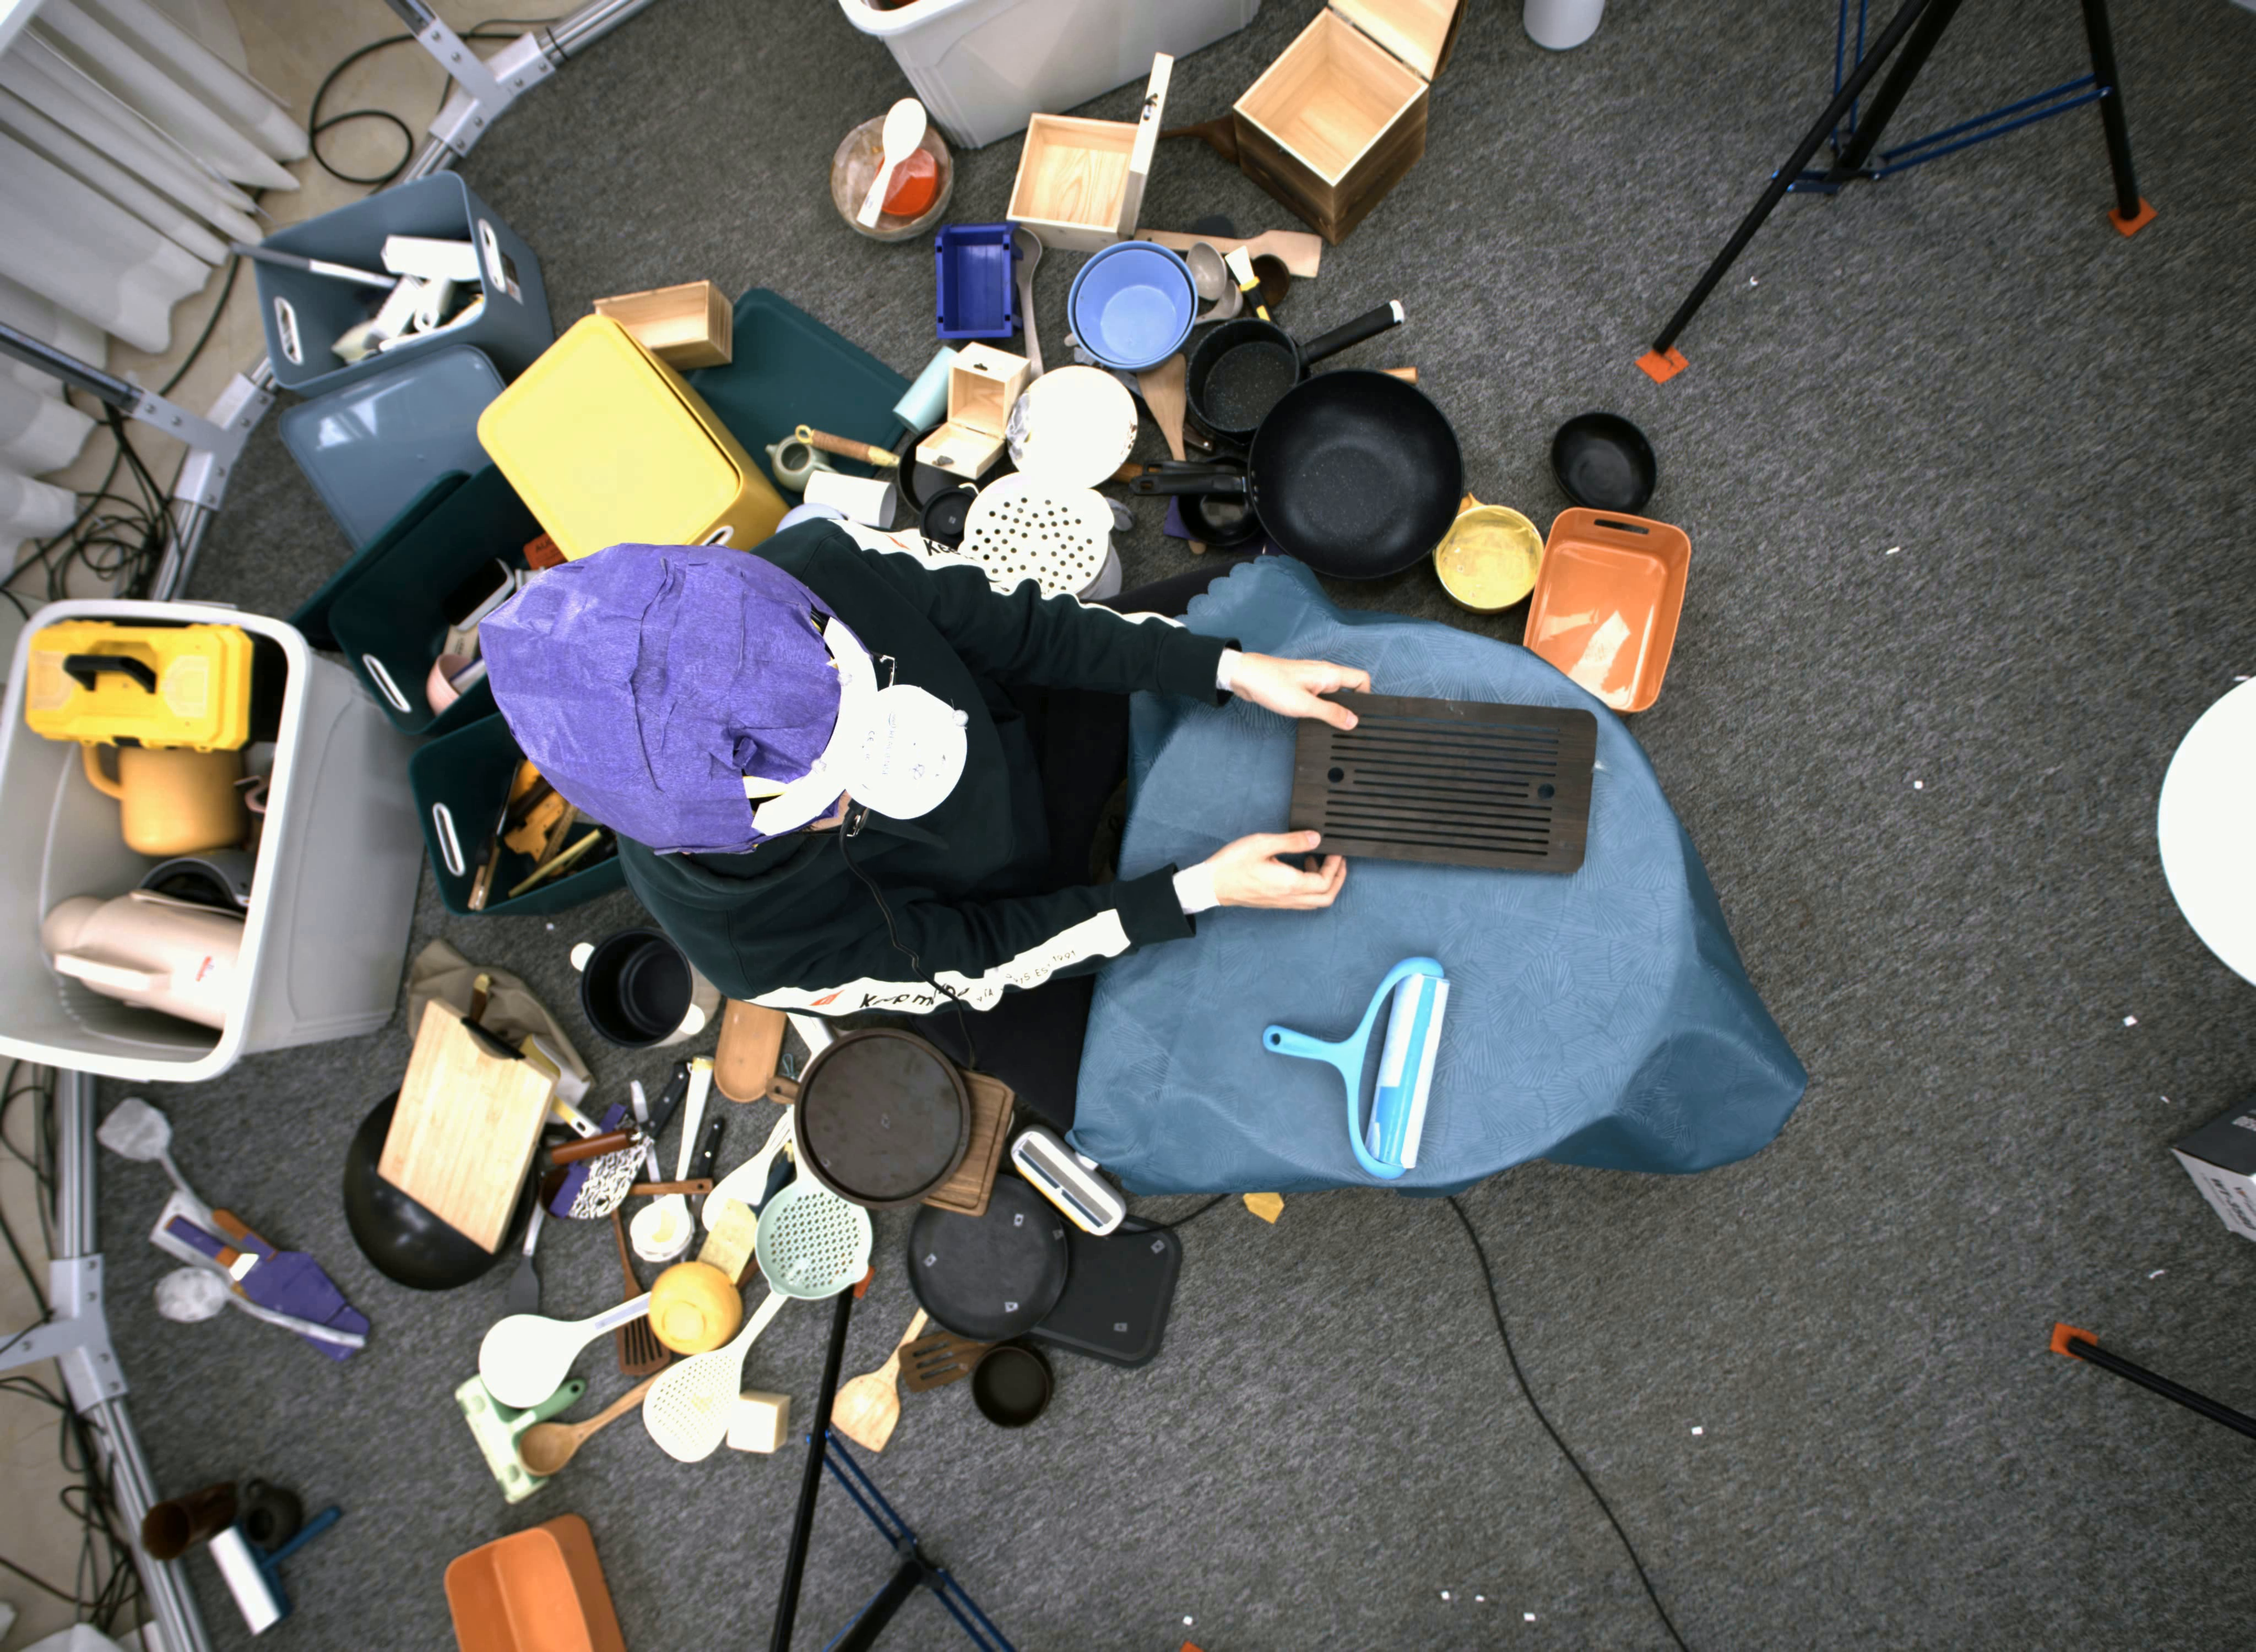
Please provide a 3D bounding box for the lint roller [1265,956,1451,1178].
[{"bbox_3d":[0.228,0.236,1.425,0.180,0.068,0.228,8,90,9],"label":"lint roller"}]

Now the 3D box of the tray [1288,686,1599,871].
[{"bbox_3d":[0.323,-0.052,1.419,0.306,0.018,0.171,5,98,6],"label":"tray"}]
